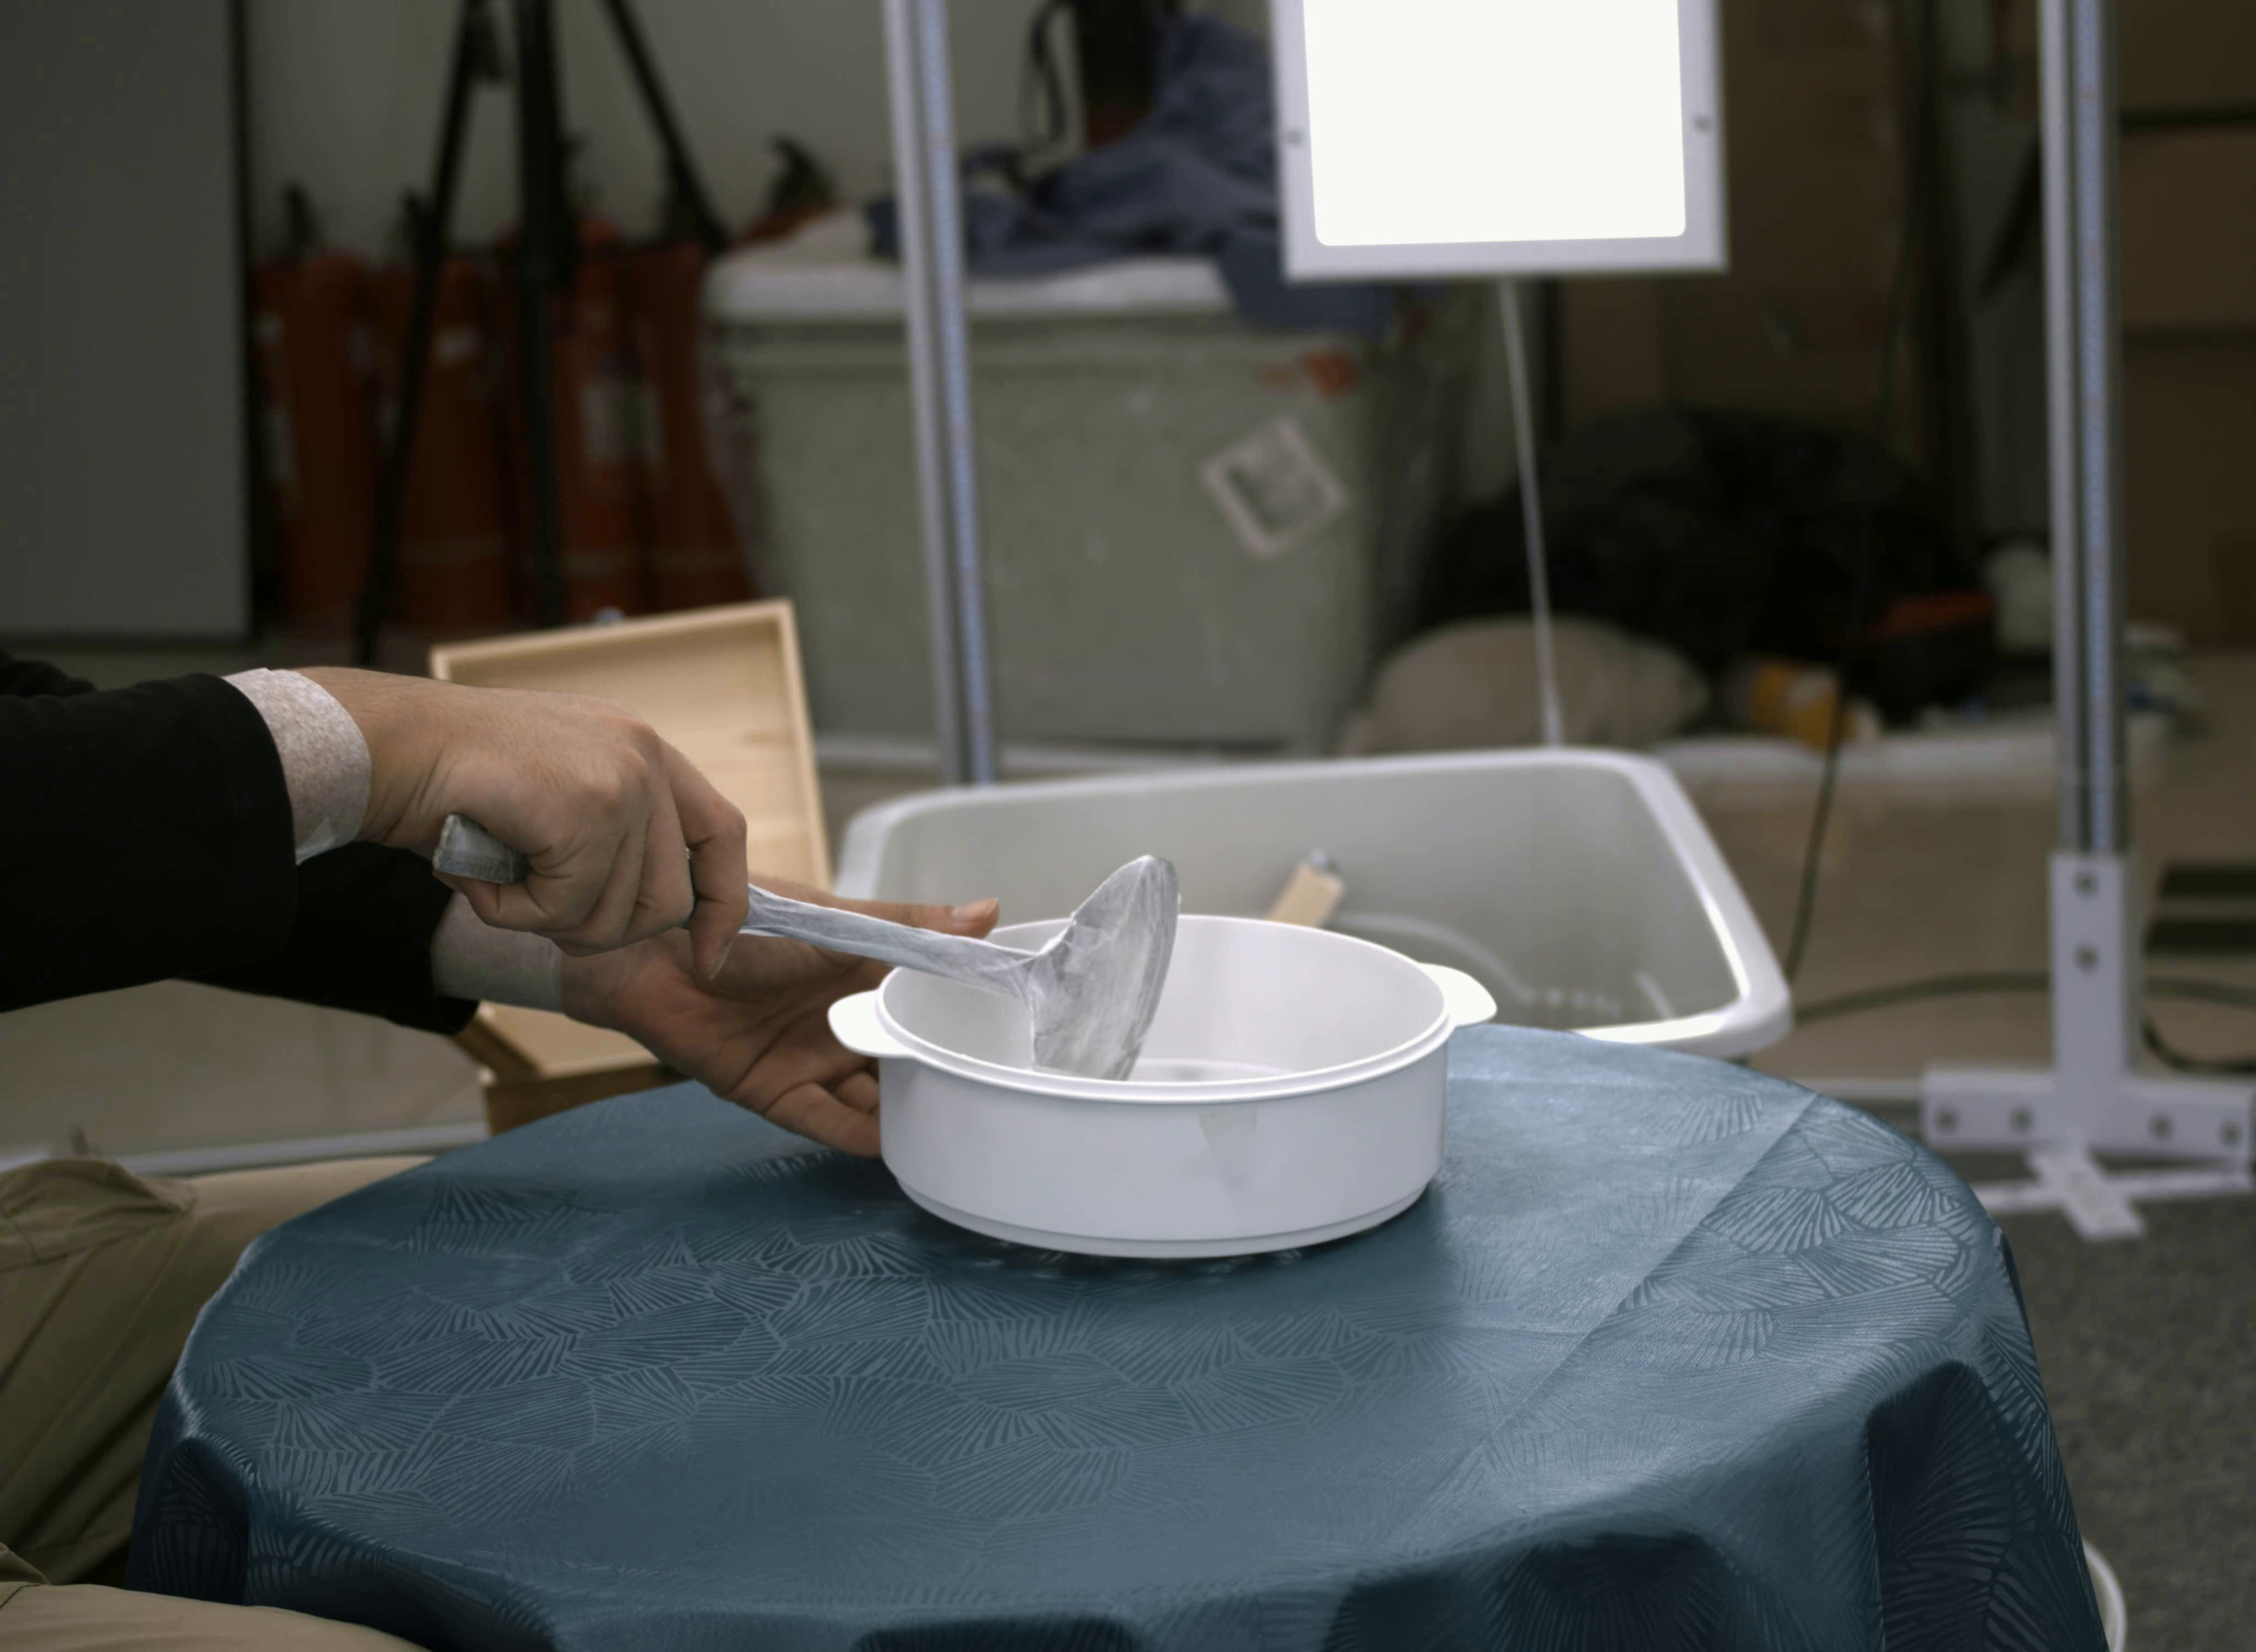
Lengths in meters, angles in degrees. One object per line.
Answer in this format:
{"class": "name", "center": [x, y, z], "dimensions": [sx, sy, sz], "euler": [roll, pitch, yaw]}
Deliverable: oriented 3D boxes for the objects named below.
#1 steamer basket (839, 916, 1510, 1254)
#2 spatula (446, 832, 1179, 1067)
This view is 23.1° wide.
{"class": "steamer basket", "center": [0.017, 0.088, 1.883], "dimensions": [0.228, 0.069, 0.203], "euler": [-4, 15, -9]}
{"class": "spatula", "center": [-0.096, 0.035, 1.795], "dimensions": [0.356, 0.099, 0.045], "euler": [15, 7, -46]}
